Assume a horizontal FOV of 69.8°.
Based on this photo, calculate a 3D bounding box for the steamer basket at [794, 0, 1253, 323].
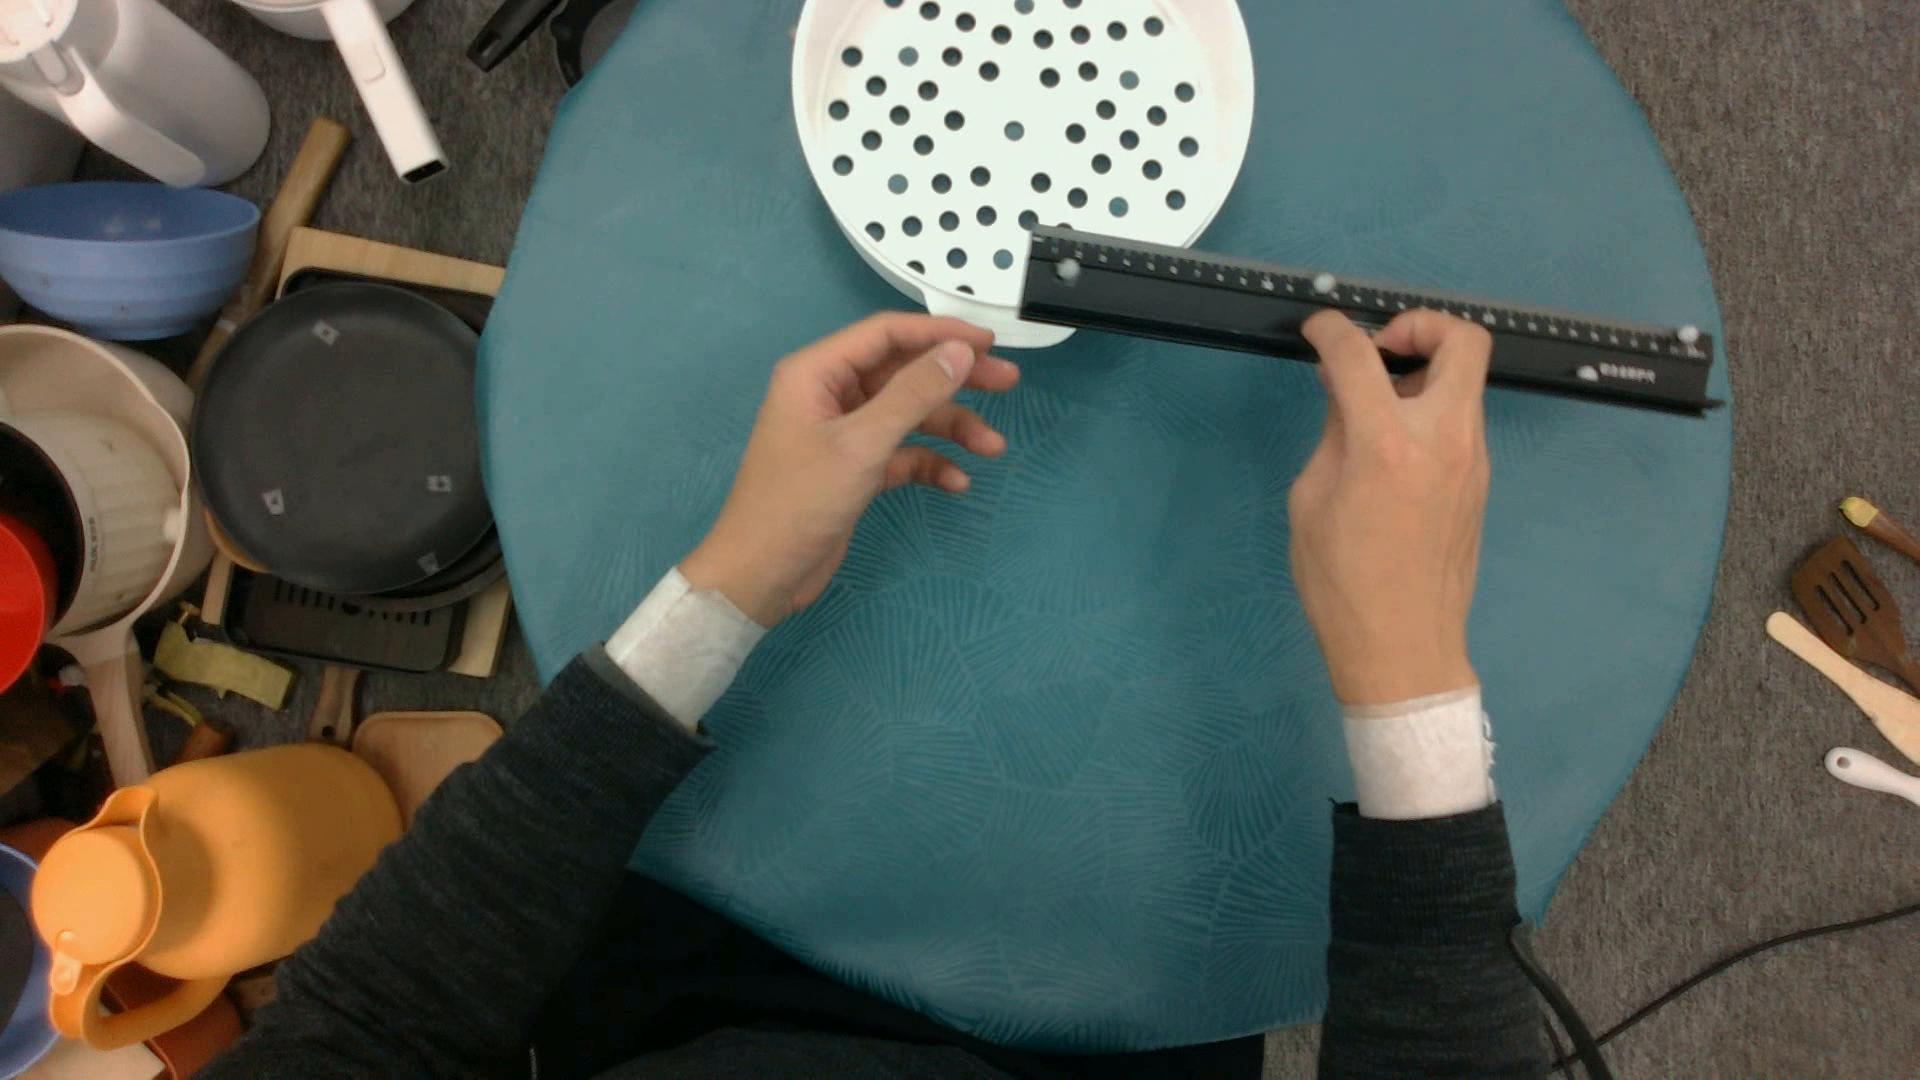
[{"bbox_3d":[0.027,-0.206,0.629,0.202,0.069,0.231,5,85,-3],"label":"steamer basket"}]

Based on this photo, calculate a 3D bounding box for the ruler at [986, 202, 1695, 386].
[{"bbox_3d":[0.165,-0.099,0.561,0.313,0.017,0.039,5,90,-13],"label":"ruler"}]
